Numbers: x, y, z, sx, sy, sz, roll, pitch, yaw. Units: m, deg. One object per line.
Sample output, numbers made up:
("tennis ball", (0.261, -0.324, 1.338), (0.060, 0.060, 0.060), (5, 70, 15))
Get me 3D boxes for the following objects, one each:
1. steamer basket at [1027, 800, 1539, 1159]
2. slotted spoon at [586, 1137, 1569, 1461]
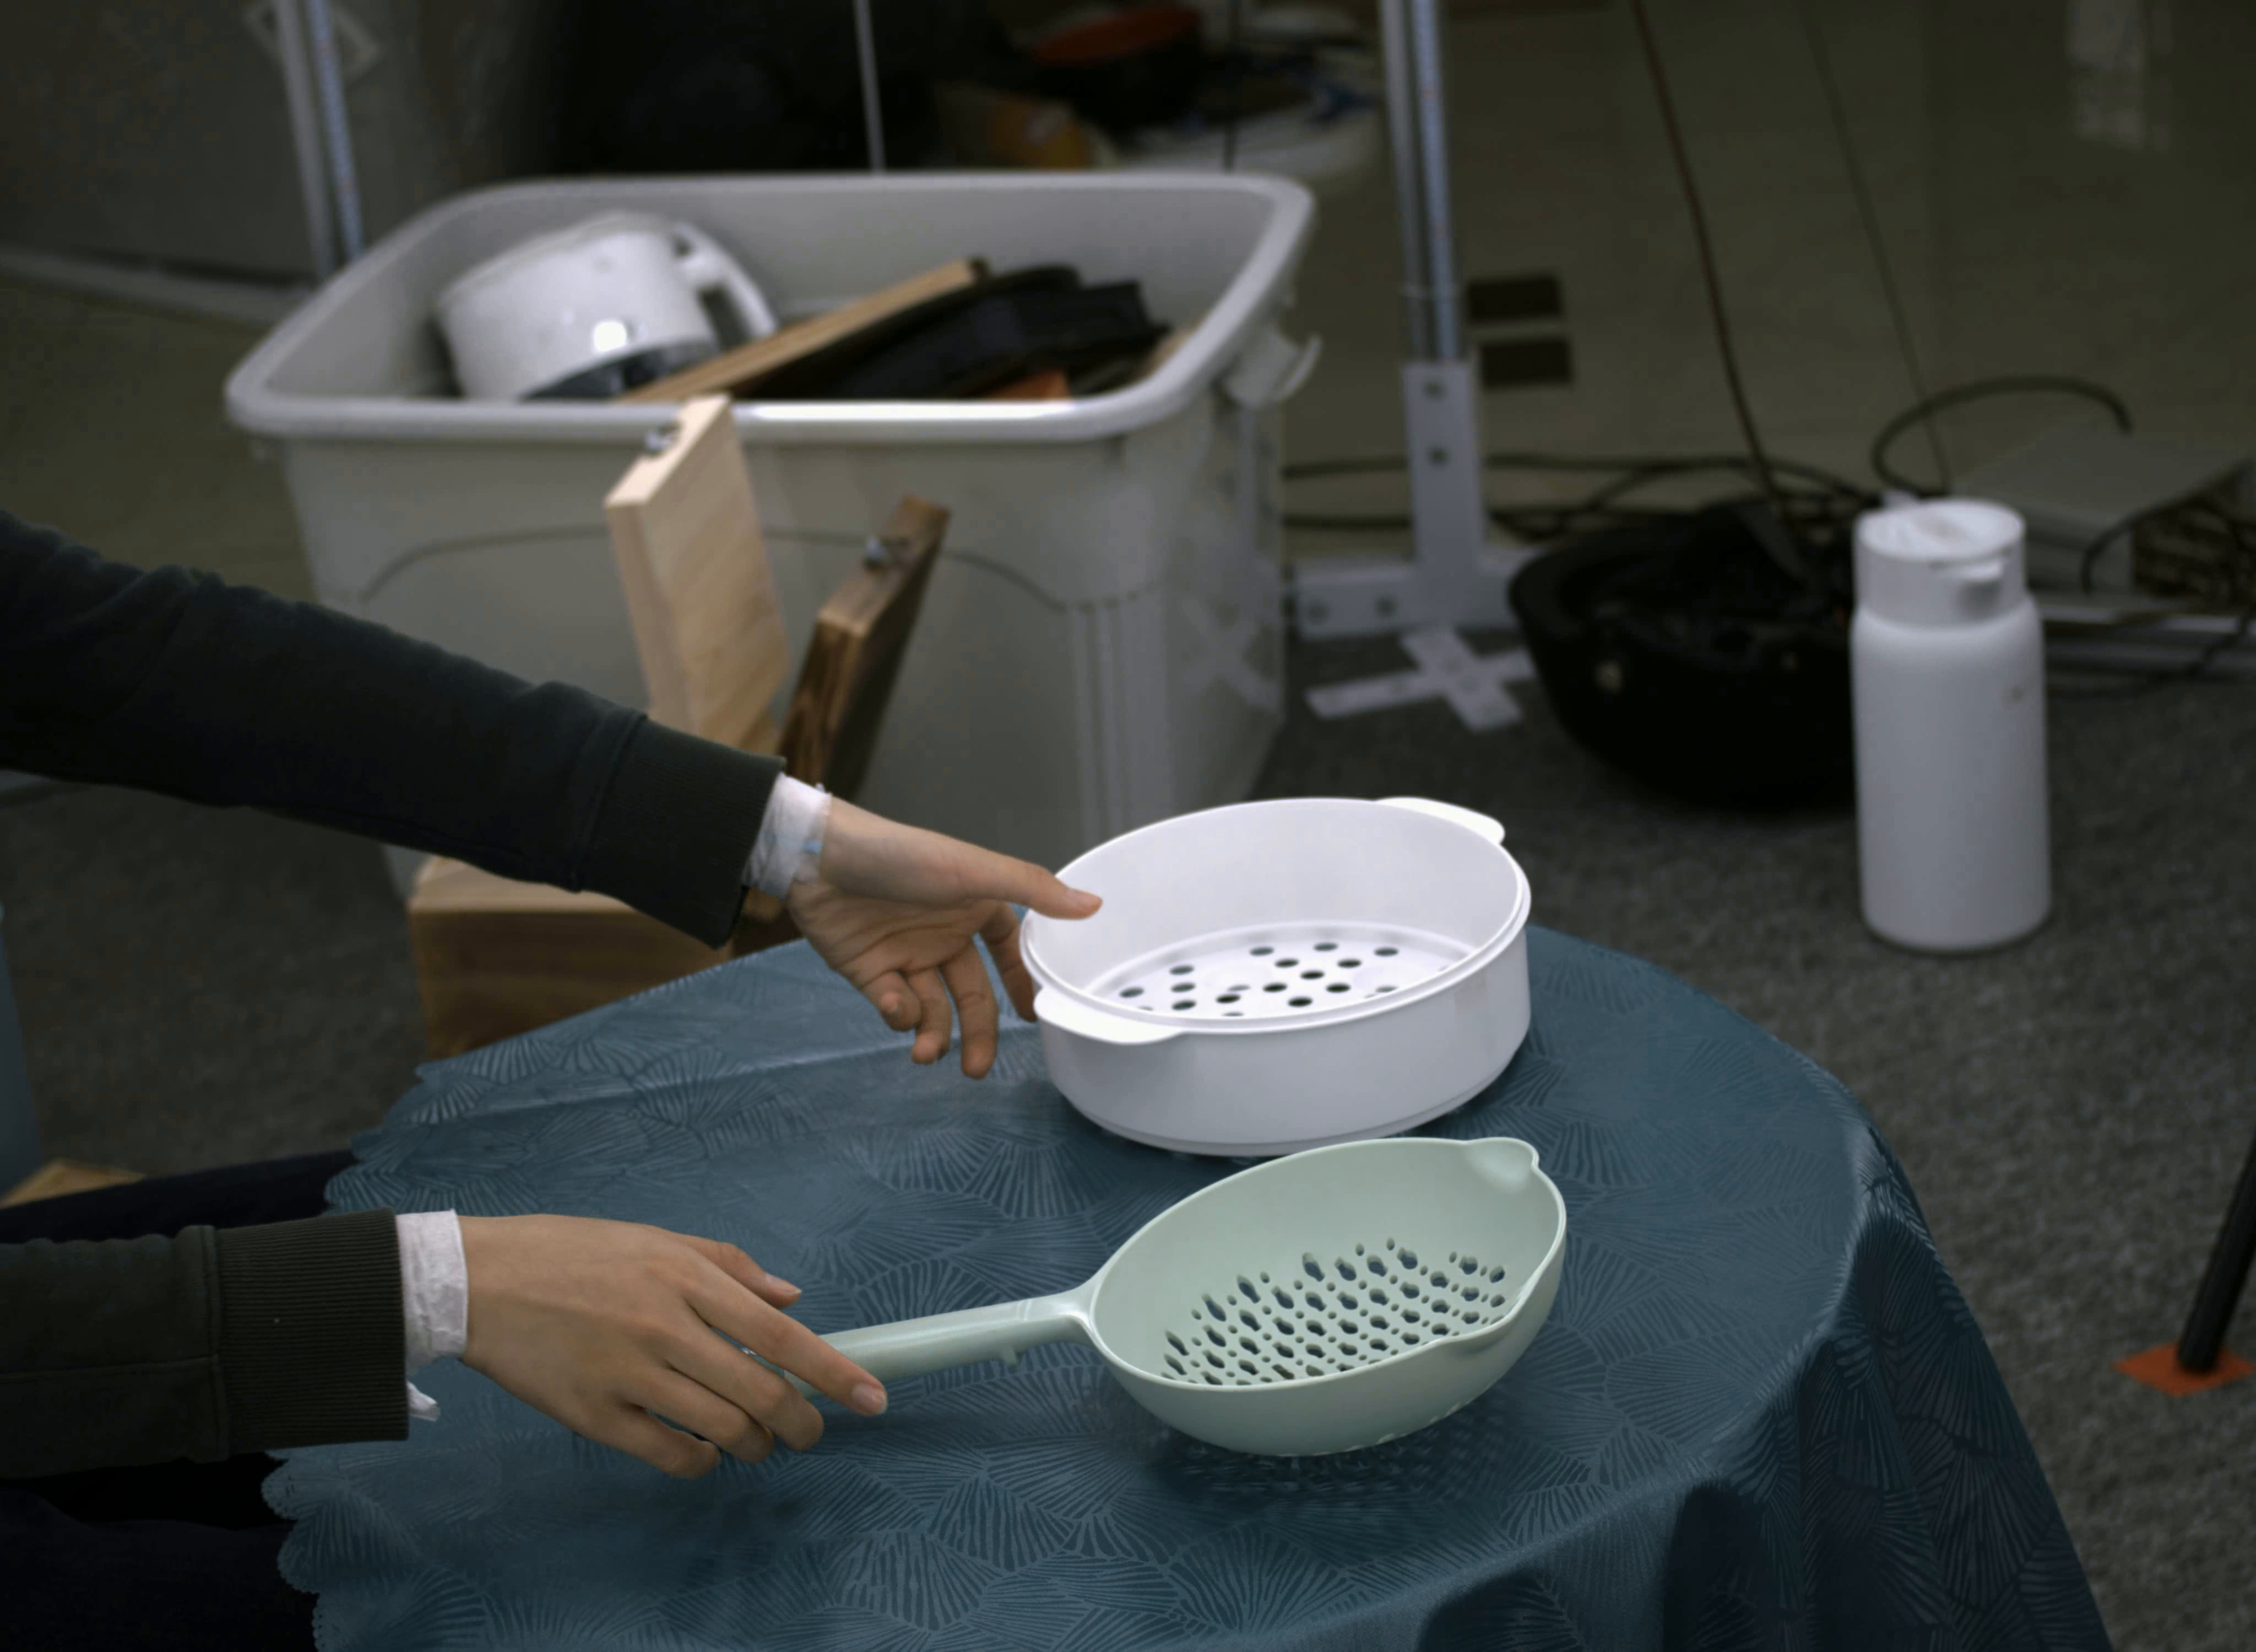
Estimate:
("steamer basket", (0.064, 0.062, 2.228), (0.200, 0.070, 0.228), (14, 33, 40))
("slotted spoon", (-0.022, 0.179, 1.996), (0.358, 0.076, 0.167), (-2, 25, 9))
